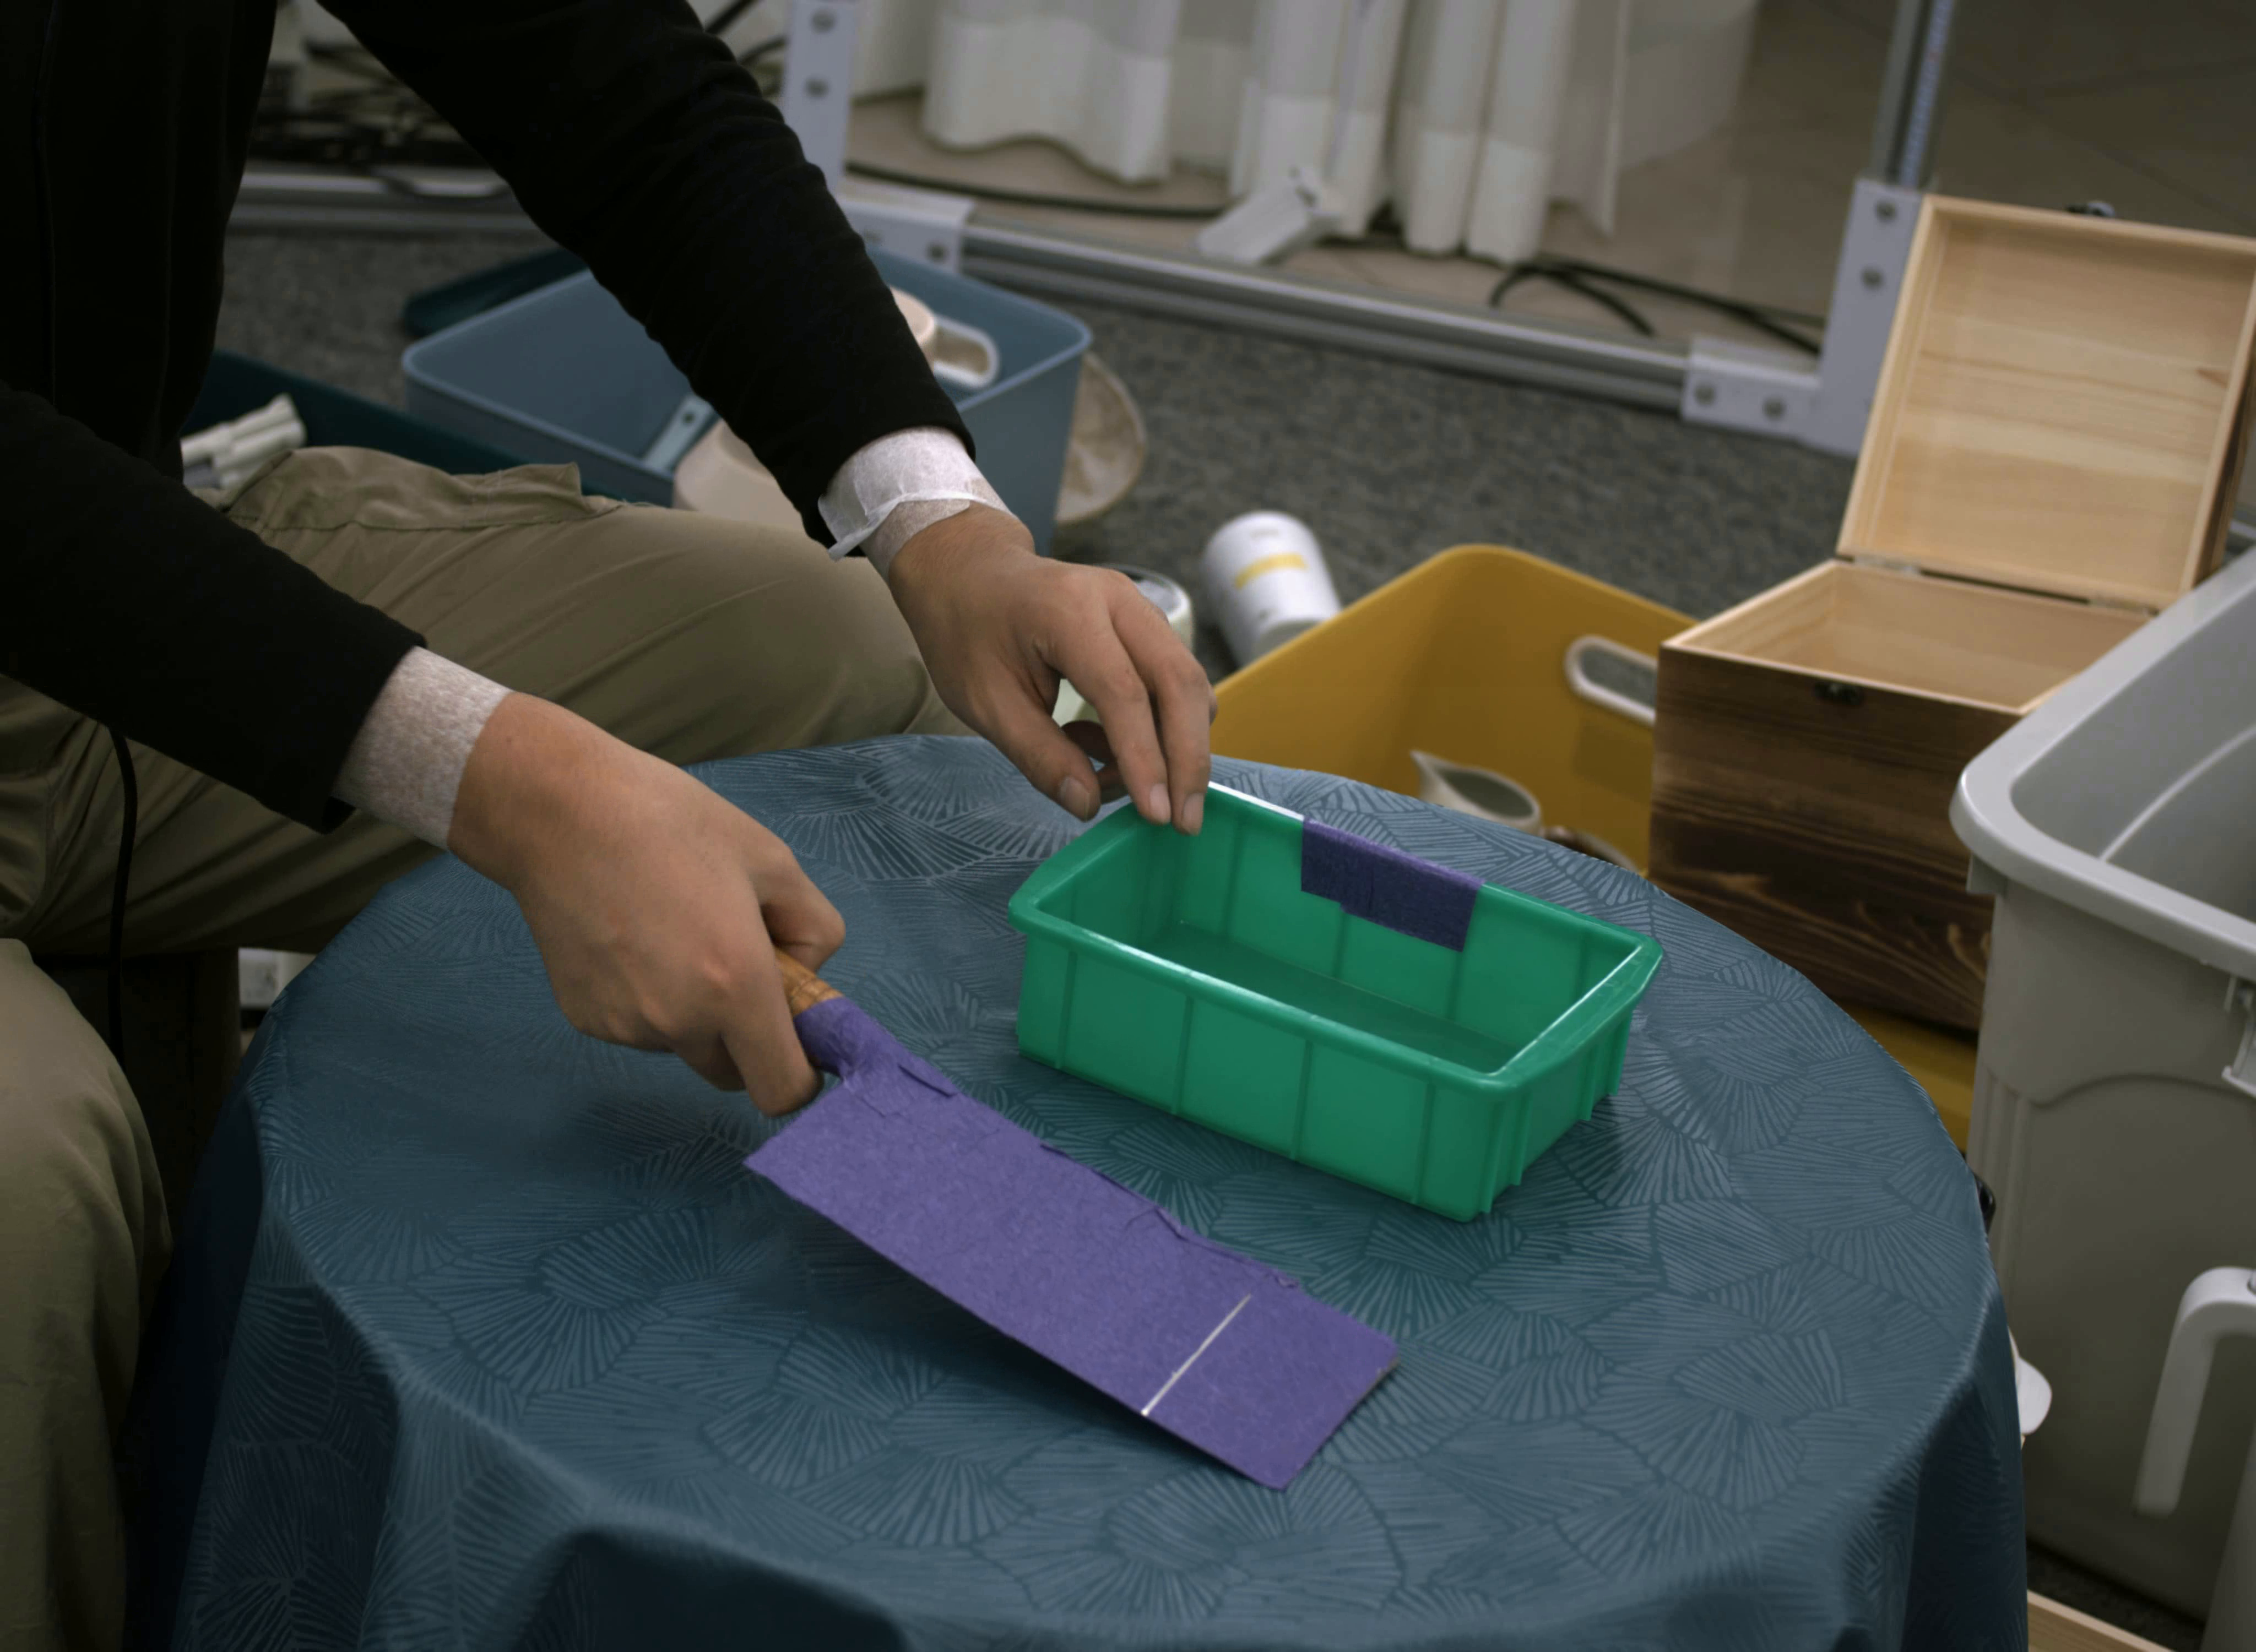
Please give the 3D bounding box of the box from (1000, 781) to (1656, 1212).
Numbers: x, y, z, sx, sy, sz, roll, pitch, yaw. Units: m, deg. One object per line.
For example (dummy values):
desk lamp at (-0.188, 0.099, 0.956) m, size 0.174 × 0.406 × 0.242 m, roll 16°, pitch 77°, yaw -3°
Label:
box at (0.068, 0.060, 1.873) m, size 0.211 × 0.065 × 0.138 m, roll 17°, pitch 27°, yaw 24°

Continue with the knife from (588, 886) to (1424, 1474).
knife at (-0.057, 0.113, 1.729) m, size 0.316 × 0.032 × 0.104 m, roll 27°, pitch 34°, yaw 18°
